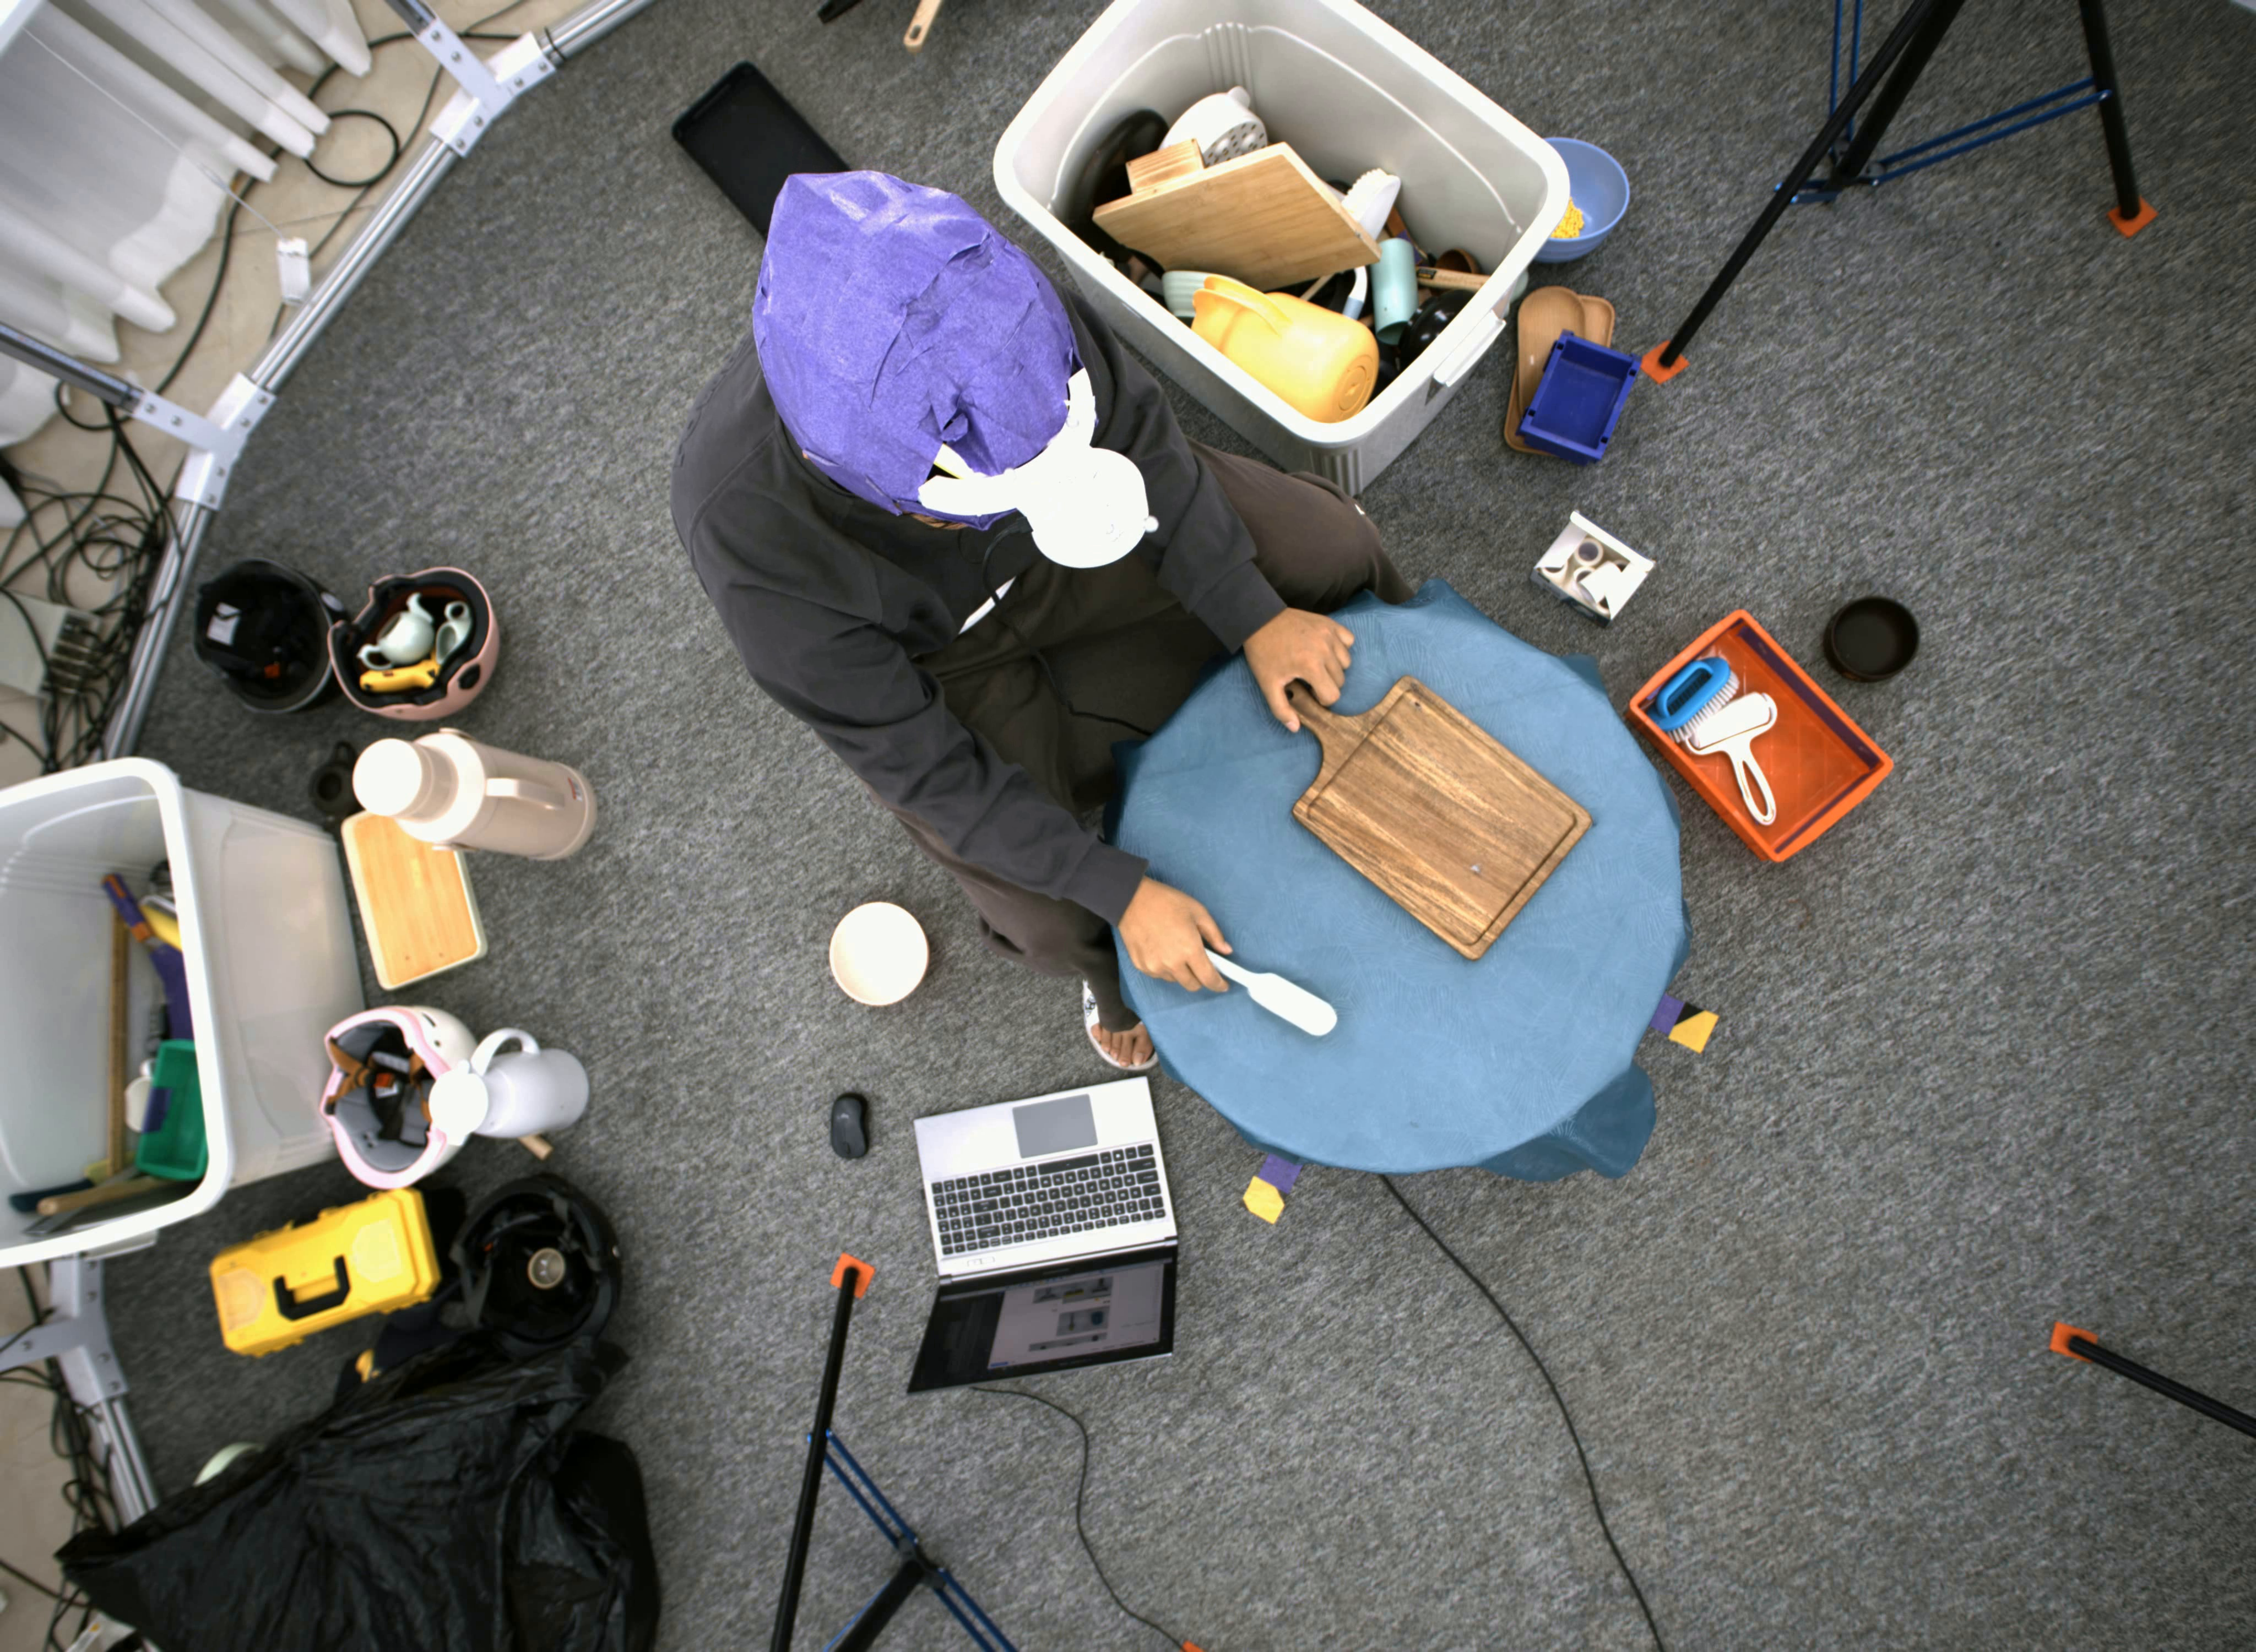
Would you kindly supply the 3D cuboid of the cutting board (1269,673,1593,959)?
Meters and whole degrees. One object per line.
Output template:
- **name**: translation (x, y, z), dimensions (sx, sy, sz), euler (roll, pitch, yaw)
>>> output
- **cutting board**: translation (0.291, -0.045, 1.453), dimensions (0.351, 0.023, 0.201), euler (40, 94, 11)

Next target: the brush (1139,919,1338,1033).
- **brush**: translation (0.115, 0.156, 1.463), dimensions (0.228, 0.050, 0.038), euler (25, 89, 13)
